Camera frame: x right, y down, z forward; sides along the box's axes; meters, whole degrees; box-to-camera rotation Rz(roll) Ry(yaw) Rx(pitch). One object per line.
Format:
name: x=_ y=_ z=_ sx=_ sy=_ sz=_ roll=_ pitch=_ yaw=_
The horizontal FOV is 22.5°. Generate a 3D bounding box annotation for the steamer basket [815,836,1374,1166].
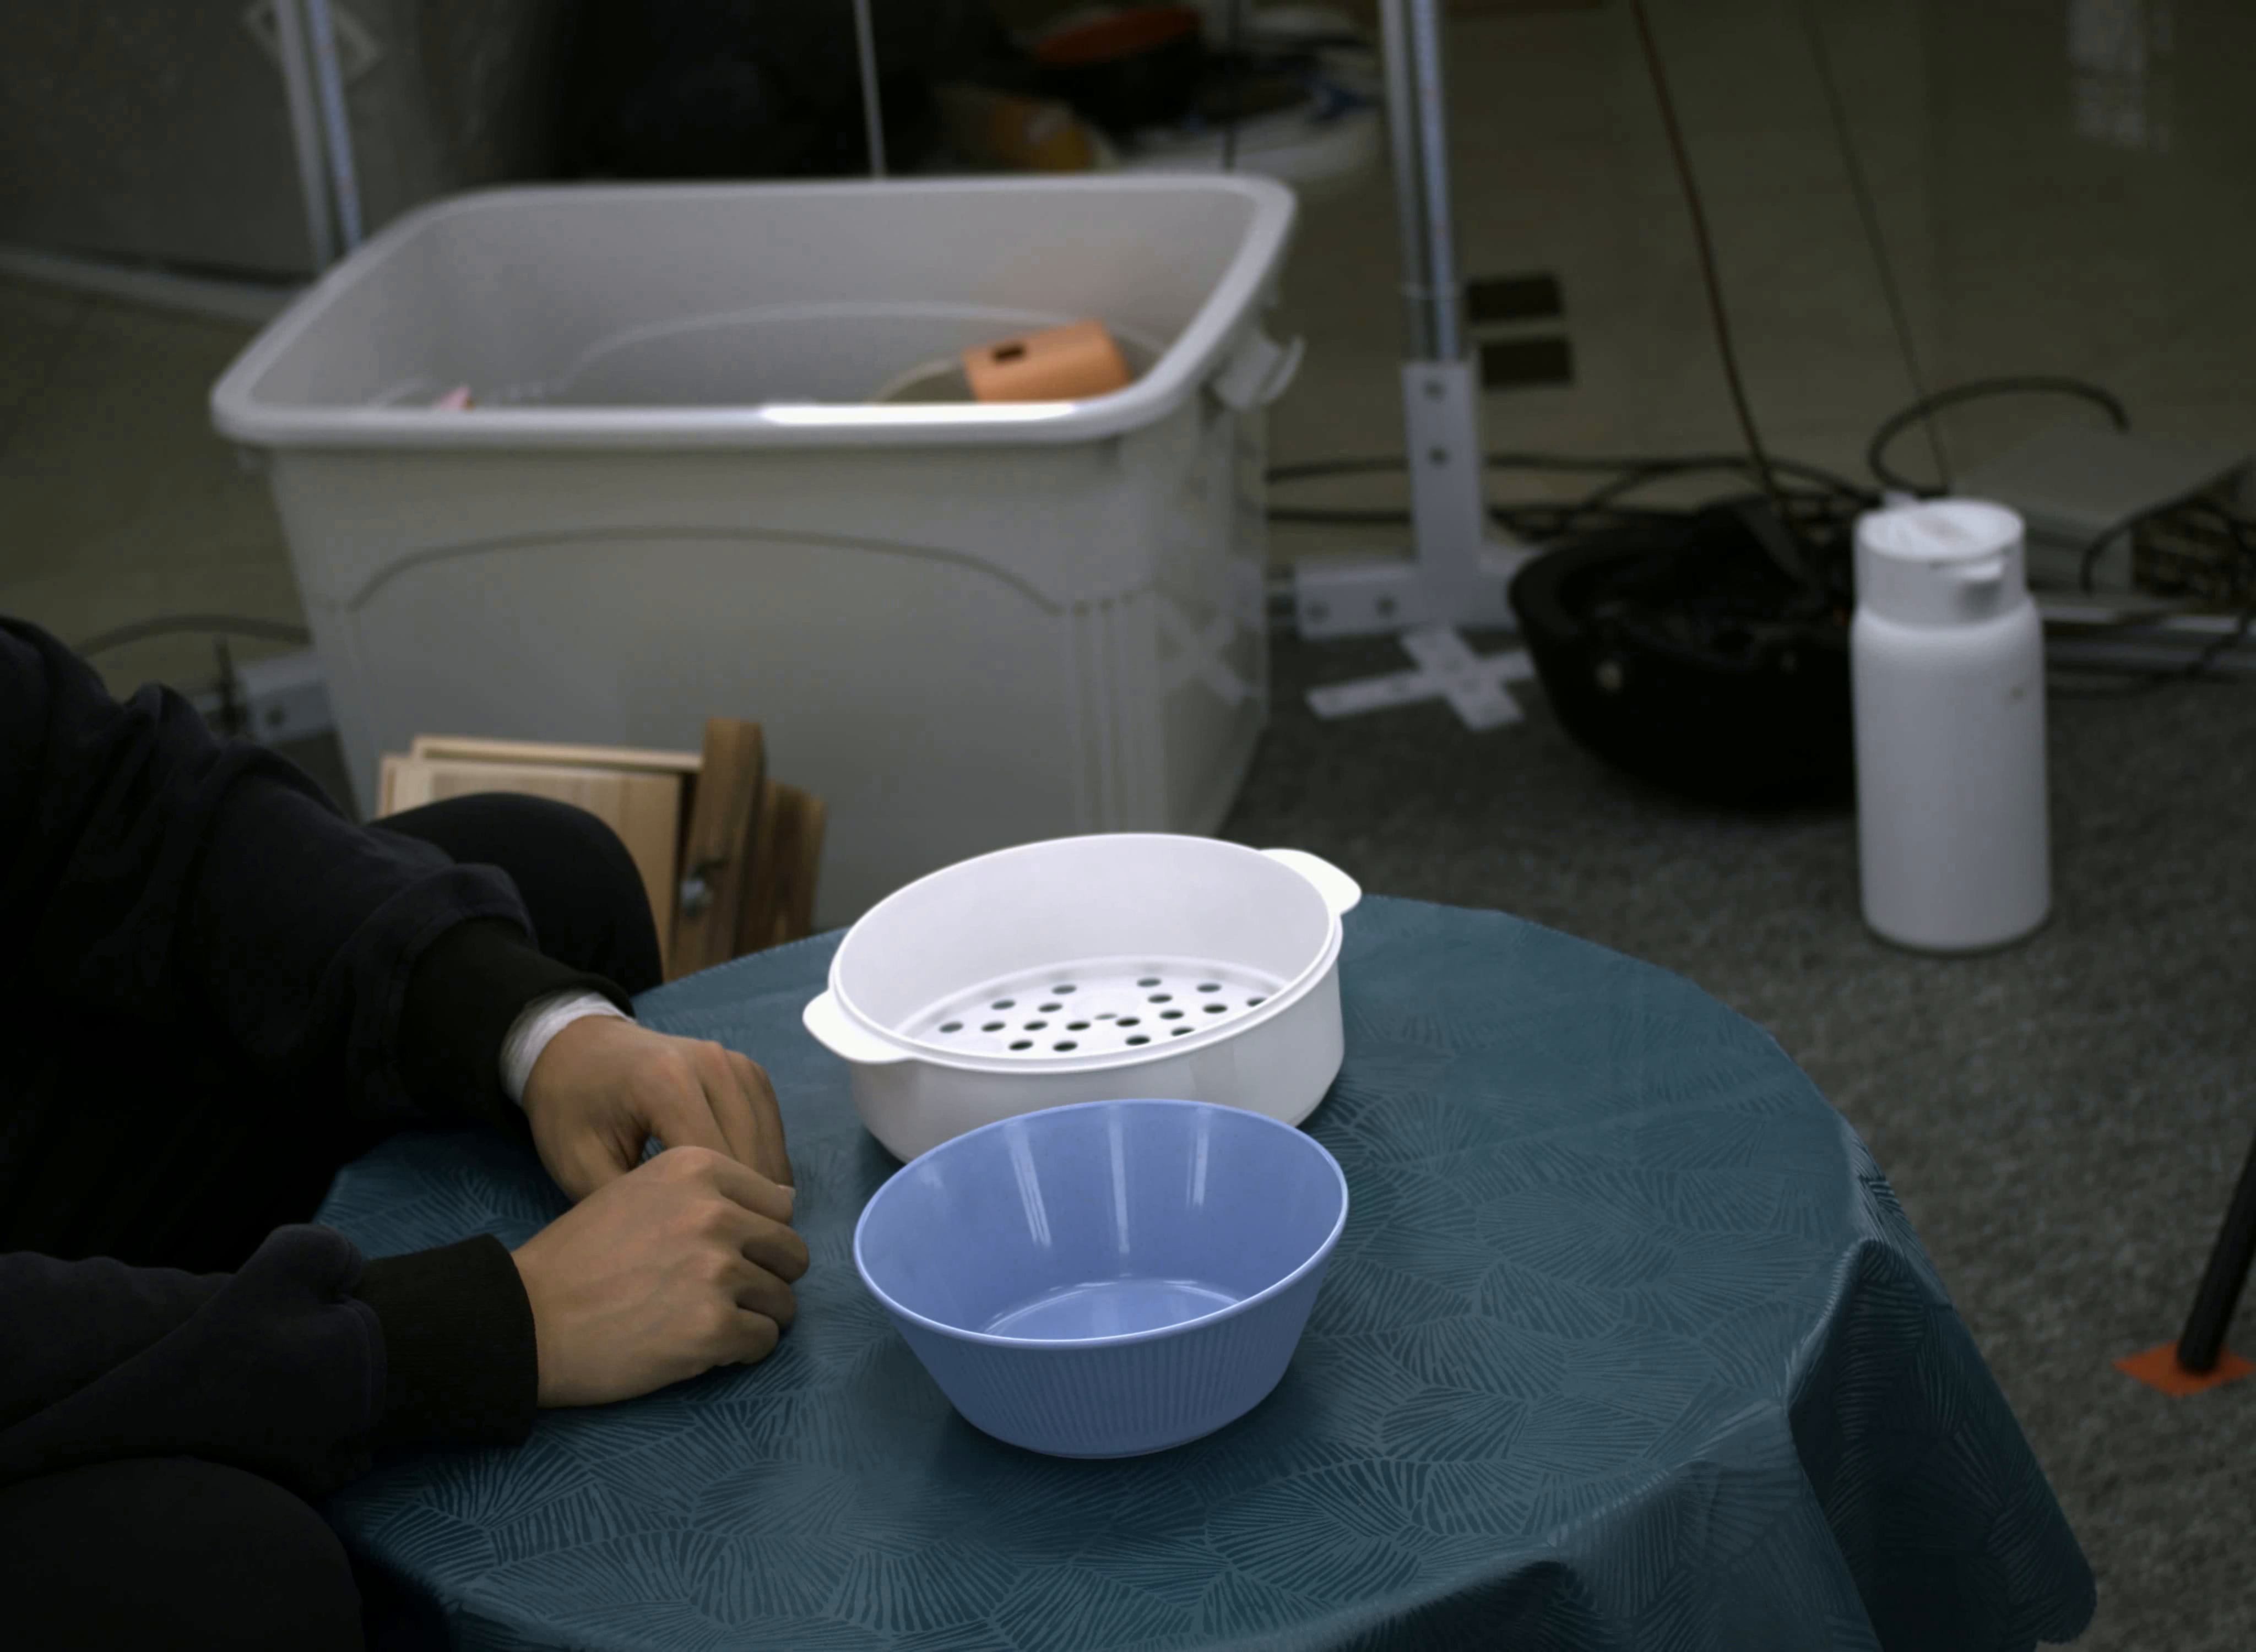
steamer basket: x=-0.010 y=0.073 z=2.214 sx=0.229 sy=0.070 sz=0.199 roll=-16 pitch=26 yaw=-25

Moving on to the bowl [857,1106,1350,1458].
bowl: x=-0.005 y=0.167 z=2.009 sx=0.176 sy=0.071 sz=0.173 roll=-6 pitch=24 yaw=3
